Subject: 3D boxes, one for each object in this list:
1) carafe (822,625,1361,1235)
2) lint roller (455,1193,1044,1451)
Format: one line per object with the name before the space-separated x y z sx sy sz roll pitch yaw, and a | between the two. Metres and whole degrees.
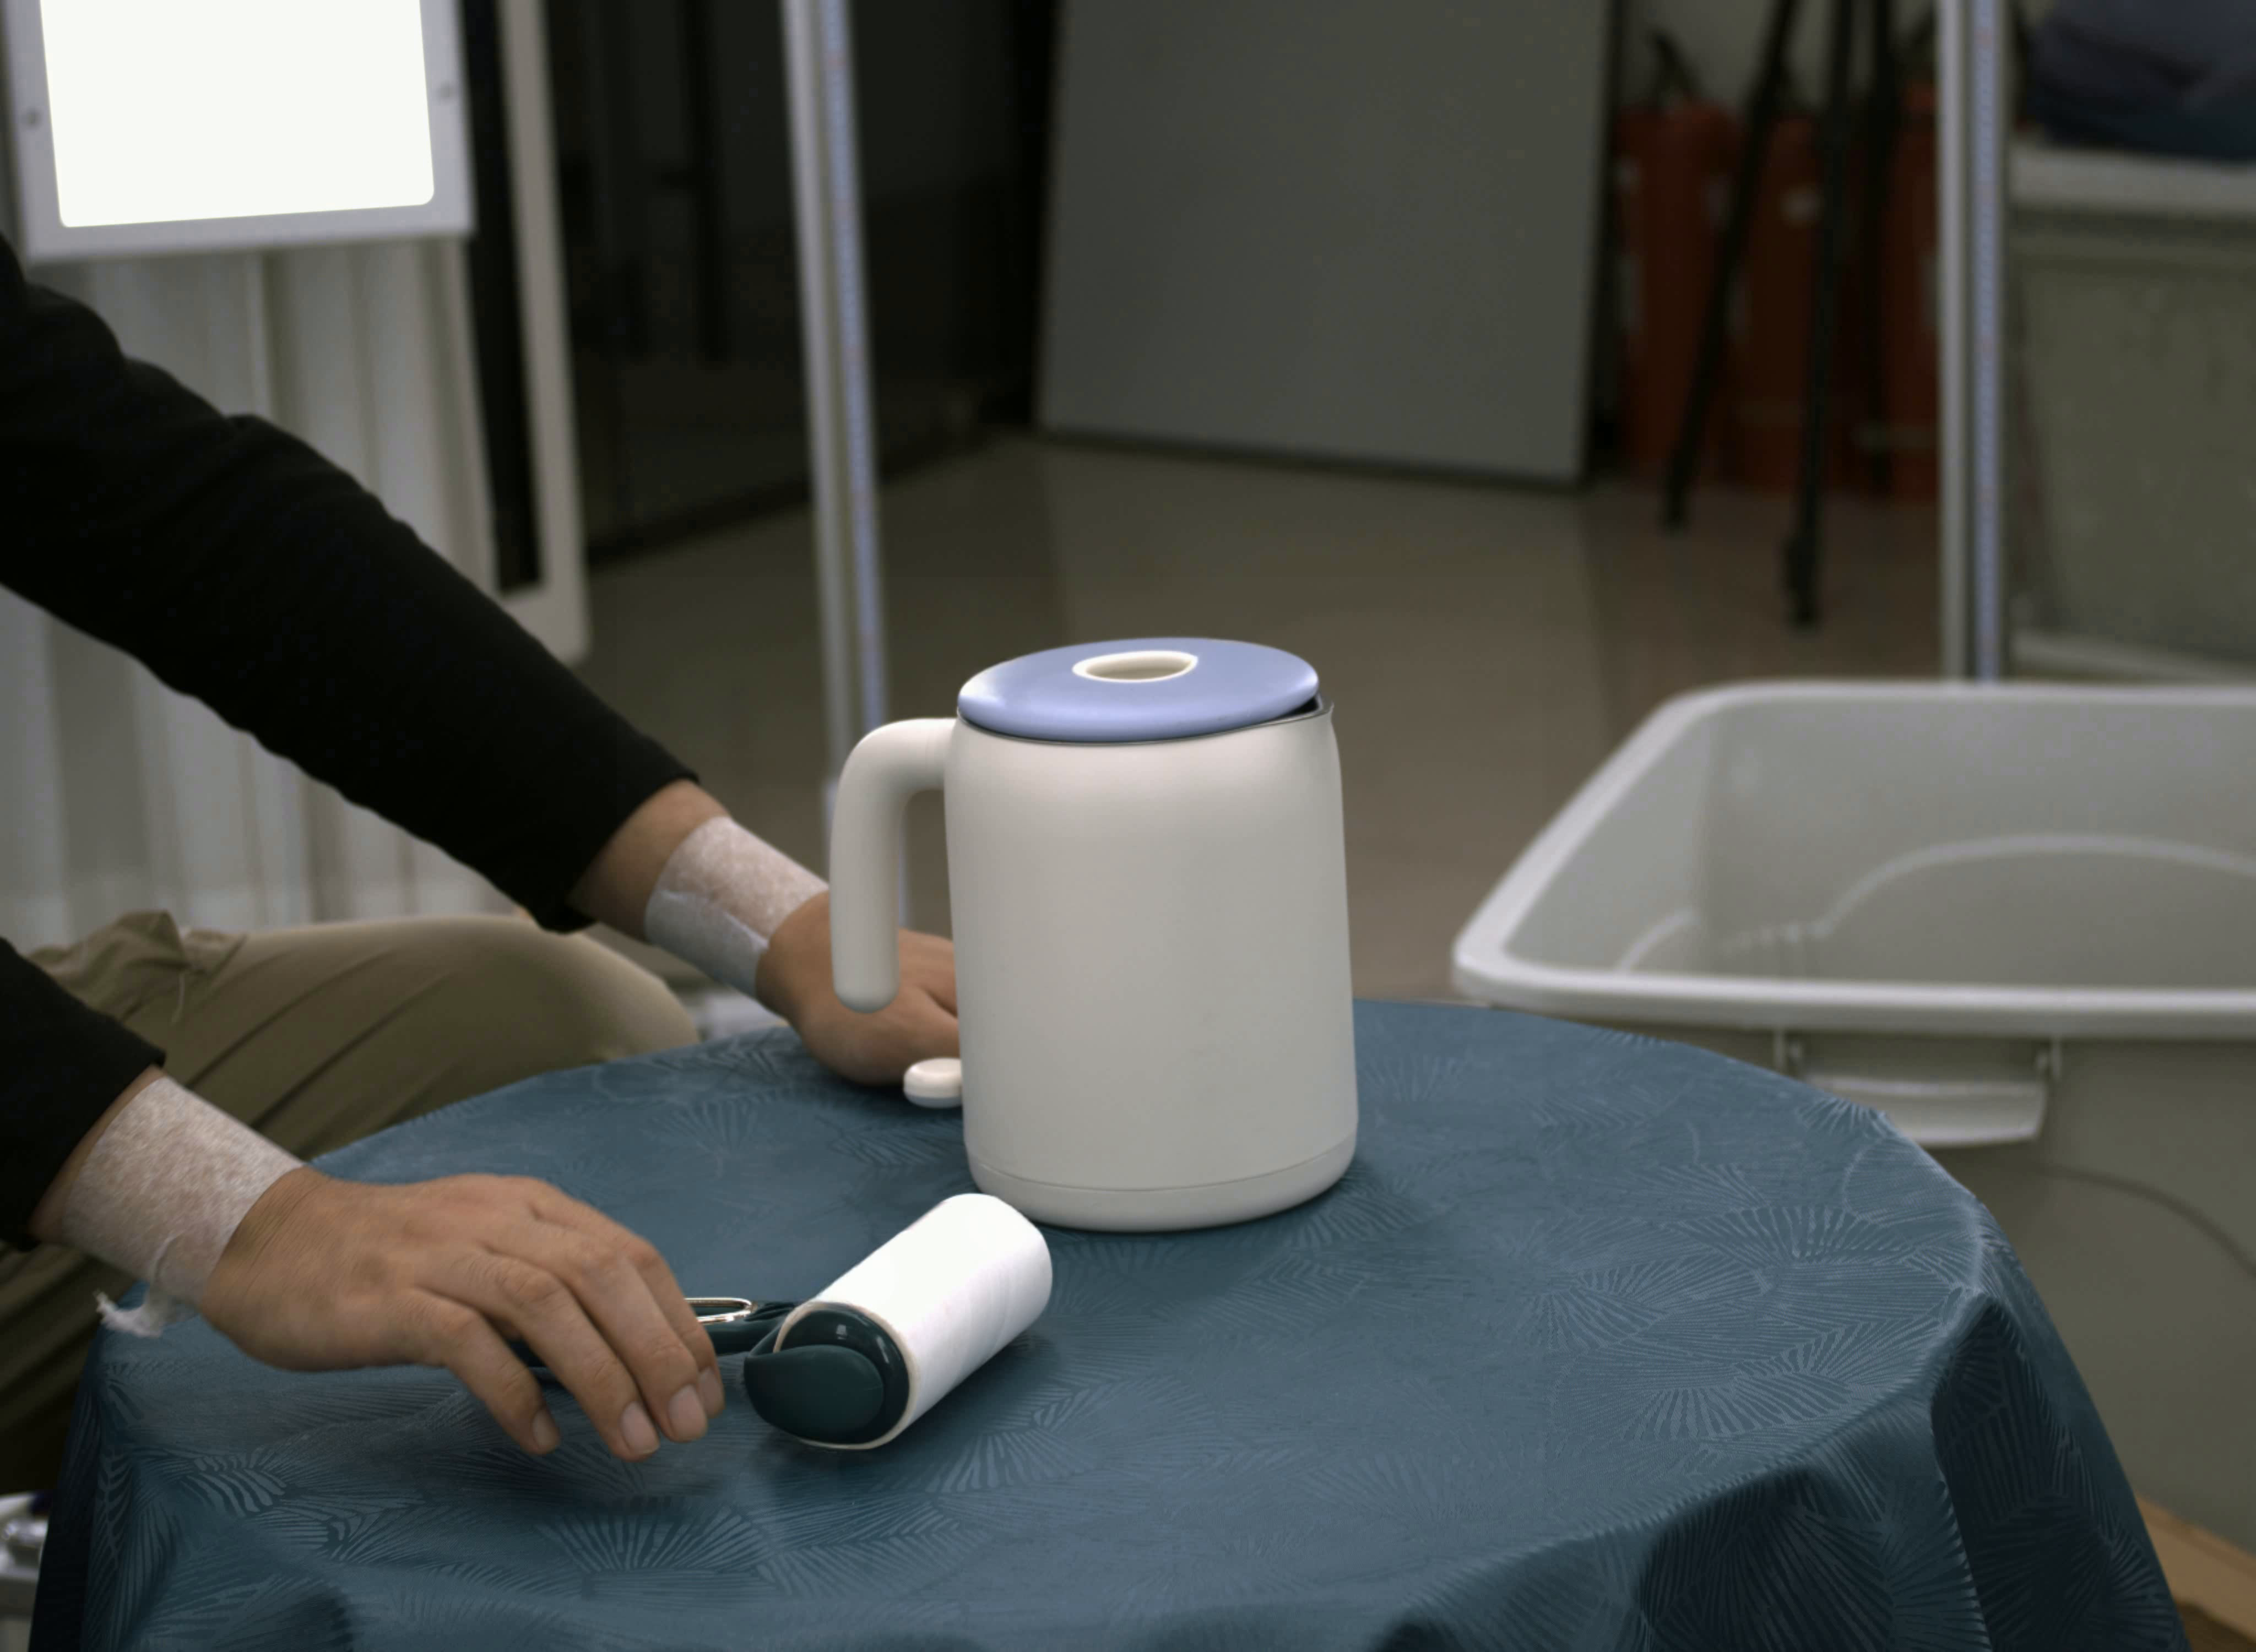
carafe | -0.015 0.033 1.772 0.191 0.184 0.130 0 13 25
lint roller | -0.124 0.146 1.617 0.180 0.049 0.133 -1 14 25
